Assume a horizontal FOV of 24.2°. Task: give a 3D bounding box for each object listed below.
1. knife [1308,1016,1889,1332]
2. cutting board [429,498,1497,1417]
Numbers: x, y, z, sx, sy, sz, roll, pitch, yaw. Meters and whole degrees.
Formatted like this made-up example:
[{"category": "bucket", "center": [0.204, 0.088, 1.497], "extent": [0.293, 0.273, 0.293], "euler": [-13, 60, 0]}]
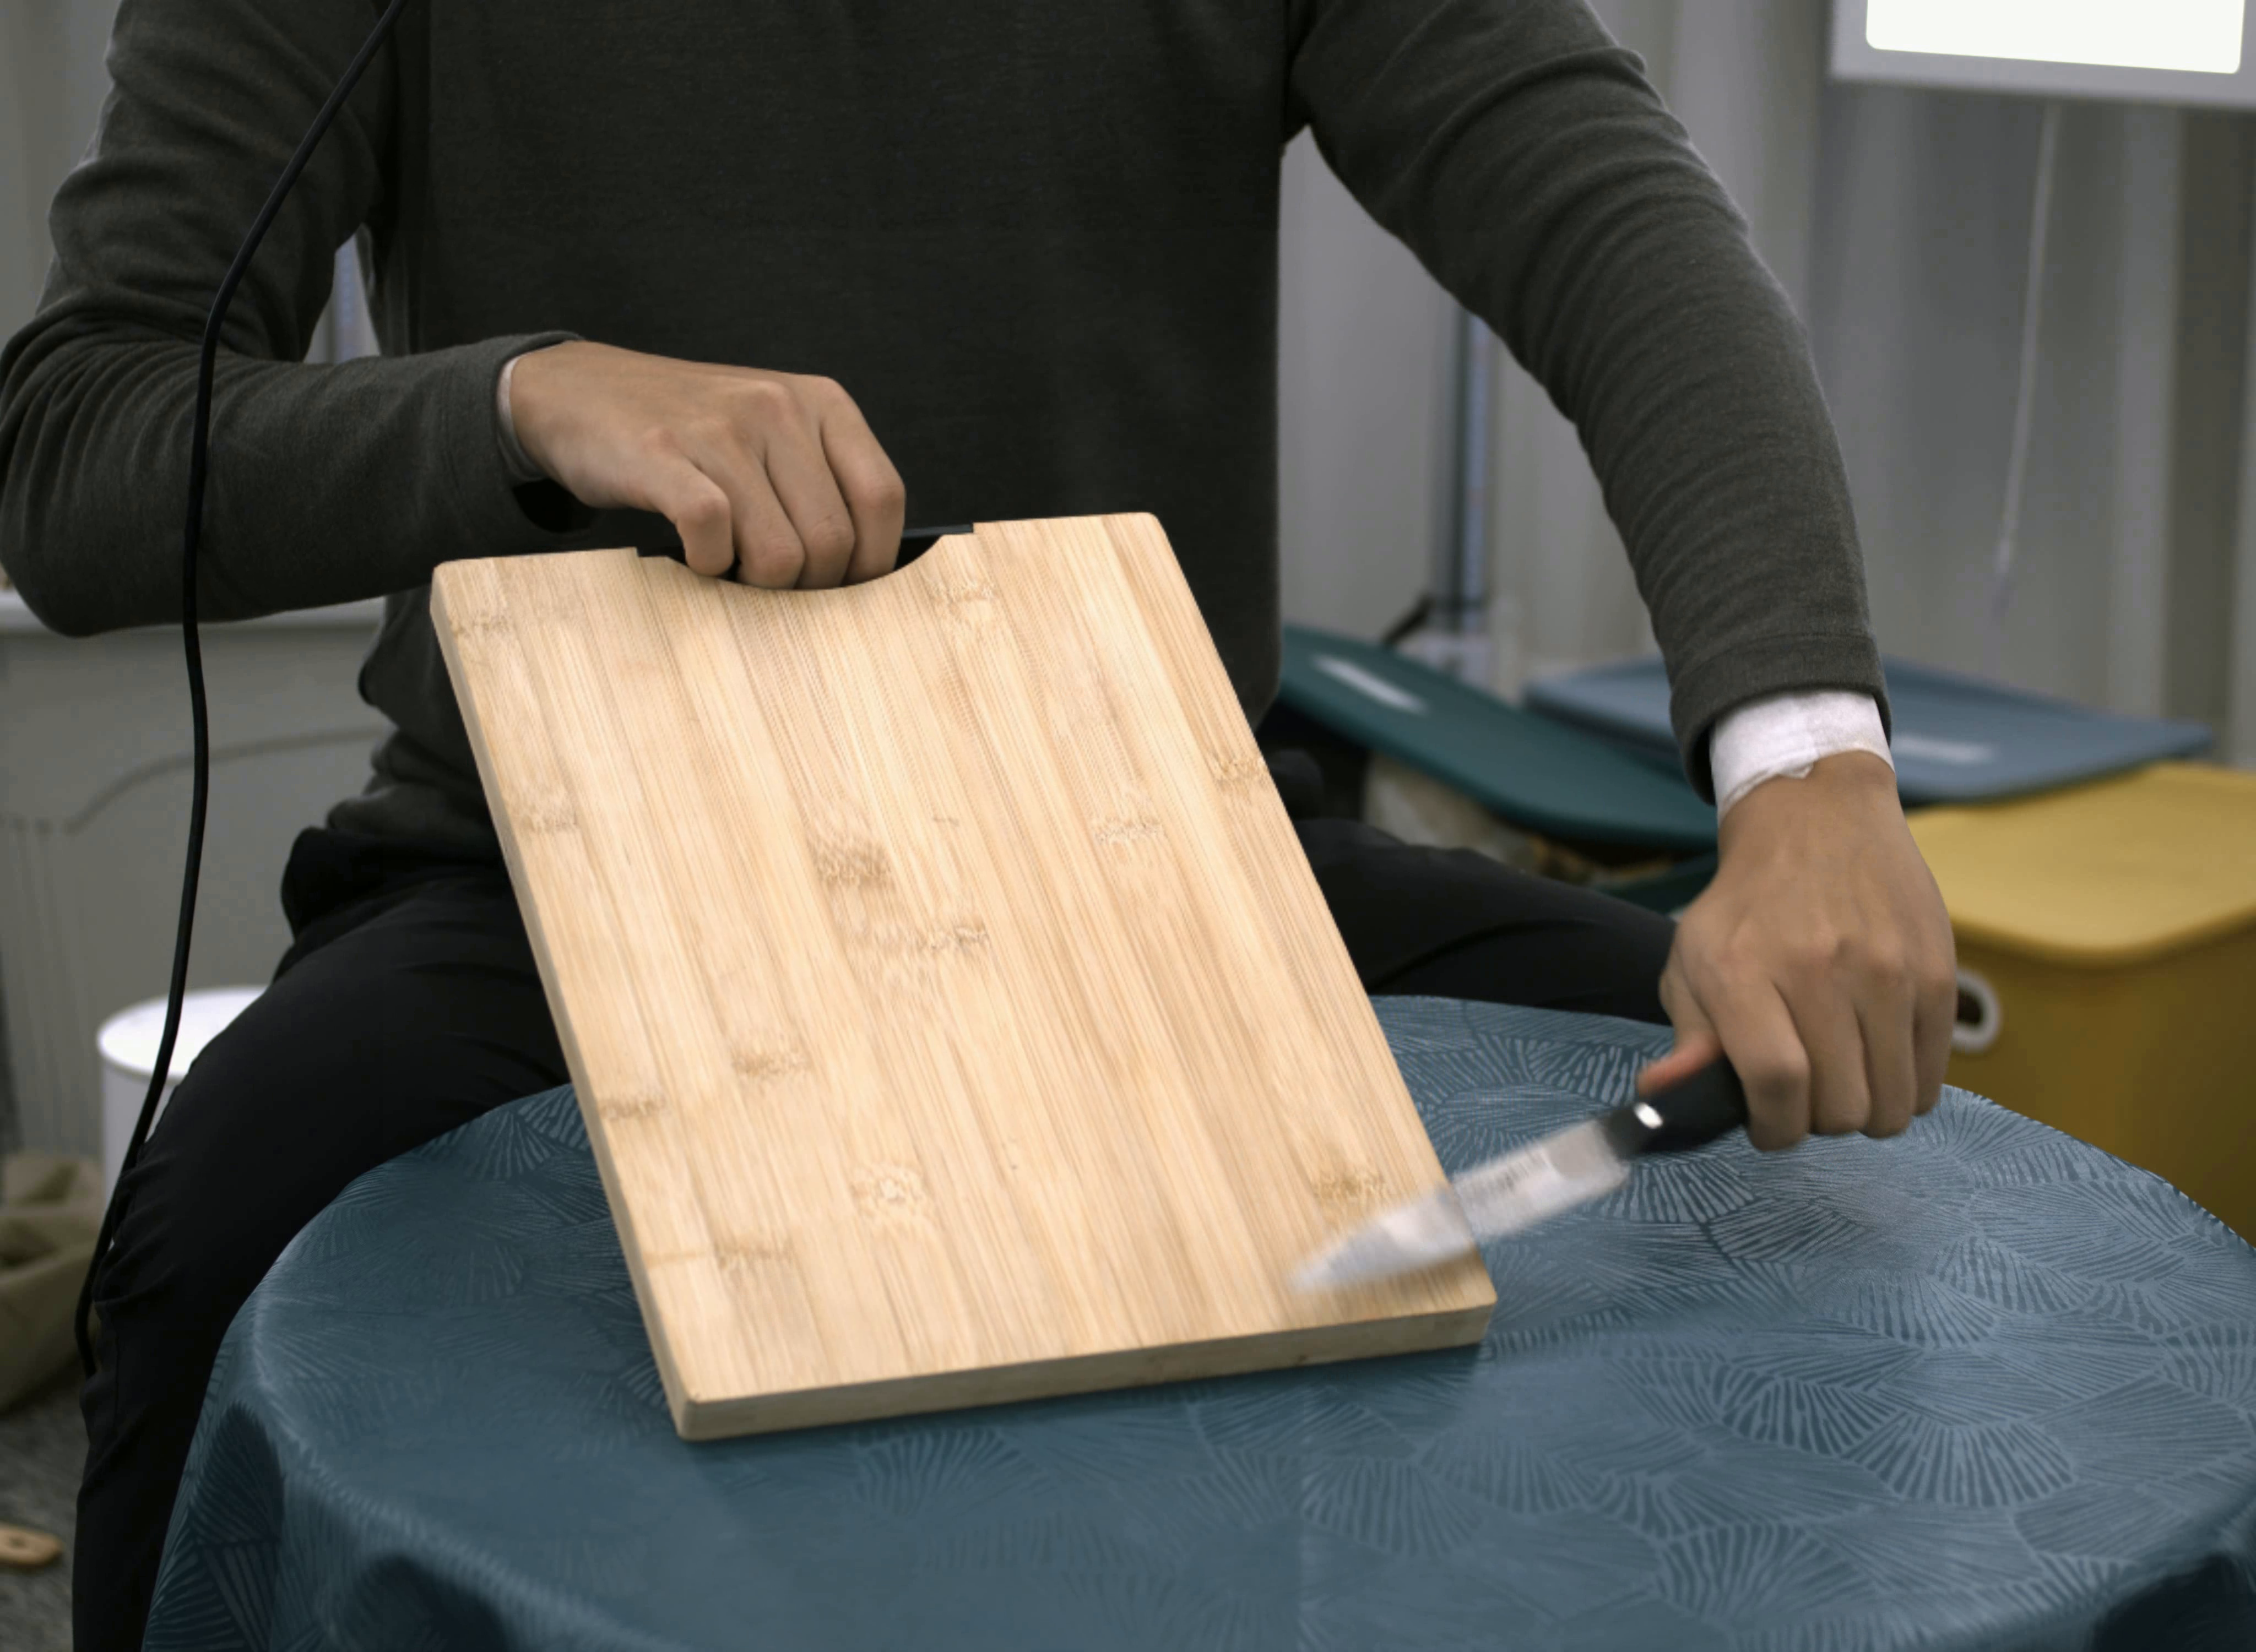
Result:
[{"category": "knife", "center": [0.137, 0.100, 1.527], "extent": [0.239, 0.016, 0.024], "euler": [-23, 61, -37]}, {"category": "cutting board", "center": [-0.057, 0.029, 1.569], "extent": [0.251, 0.024, 0.344], "euler": [-5, 47, -20]}]
